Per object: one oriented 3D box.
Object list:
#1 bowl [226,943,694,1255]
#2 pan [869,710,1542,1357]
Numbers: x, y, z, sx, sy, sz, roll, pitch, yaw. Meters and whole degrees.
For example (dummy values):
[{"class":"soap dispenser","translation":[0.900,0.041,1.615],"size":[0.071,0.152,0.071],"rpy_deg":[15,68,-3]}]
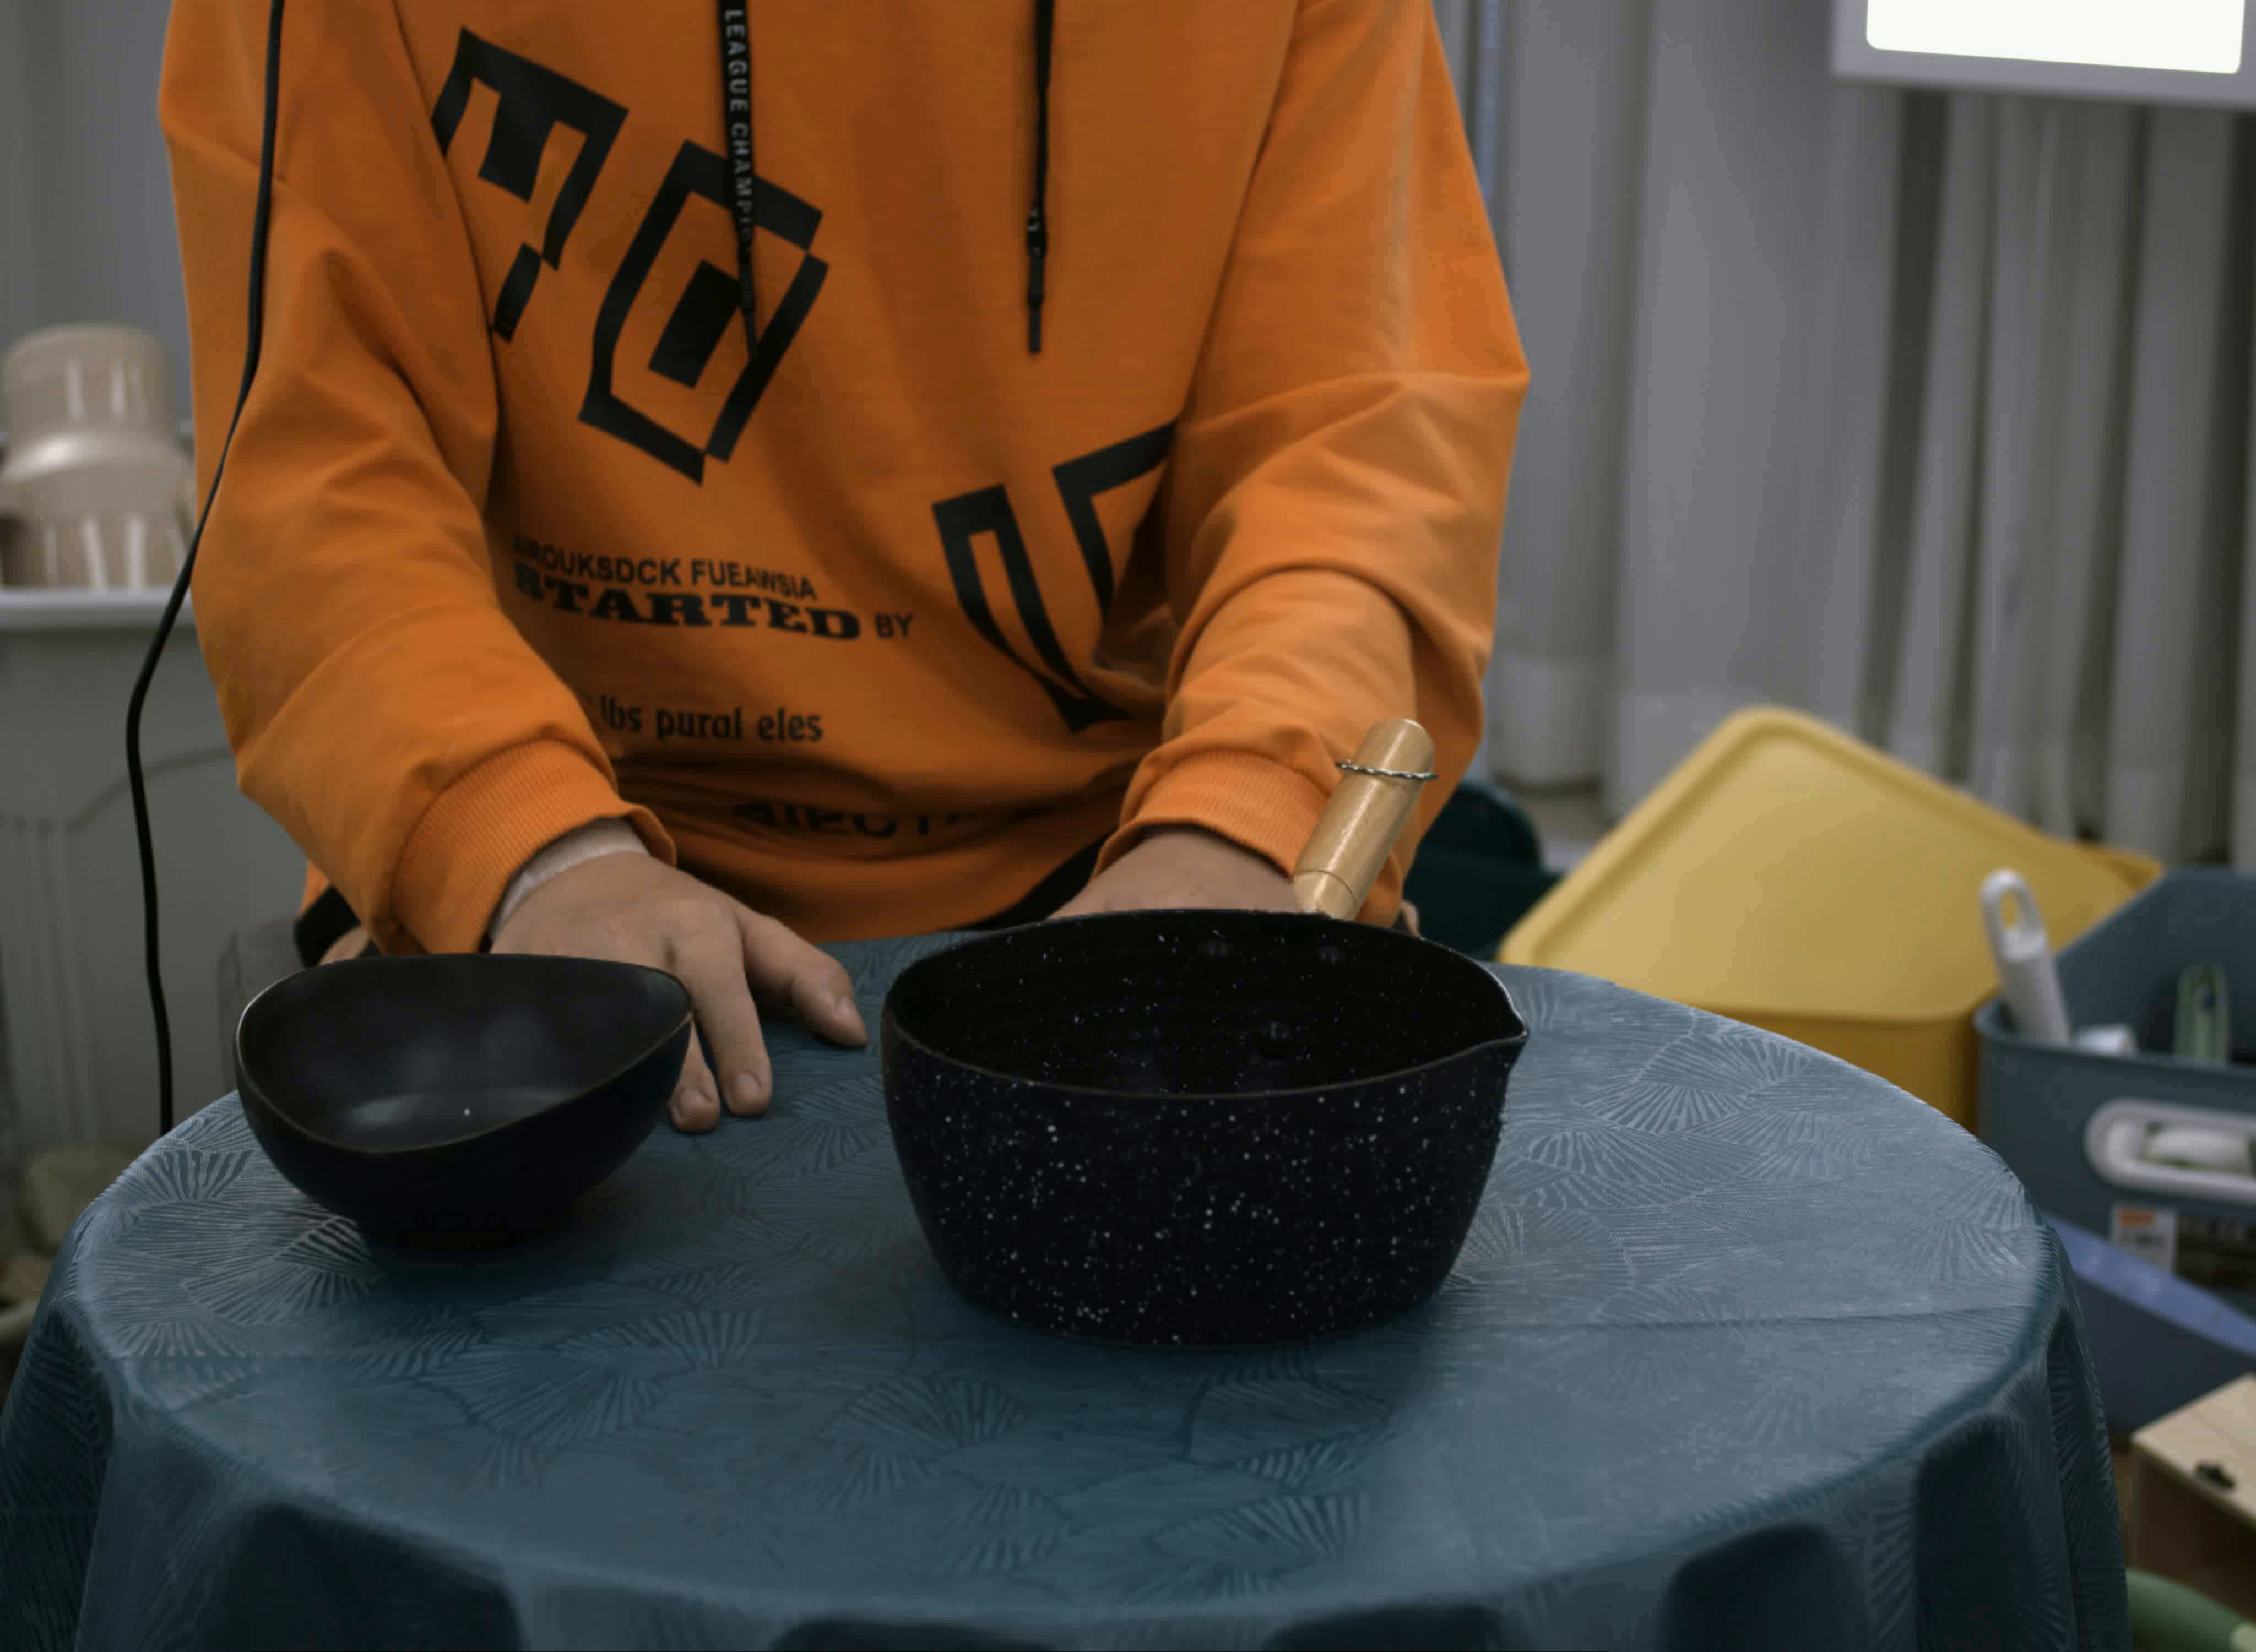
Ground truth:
[{"class":"bowl","translation":[-0.200,0.087,1.590],"size":[0.136,0.067,0.170],"rpy_deg":[2,18,8]},{"class":"pan","translation":[0.042,0.058,1.617],"size":[0.206,0.109,0.342],"rpy_deg":[3,17,16]}]
